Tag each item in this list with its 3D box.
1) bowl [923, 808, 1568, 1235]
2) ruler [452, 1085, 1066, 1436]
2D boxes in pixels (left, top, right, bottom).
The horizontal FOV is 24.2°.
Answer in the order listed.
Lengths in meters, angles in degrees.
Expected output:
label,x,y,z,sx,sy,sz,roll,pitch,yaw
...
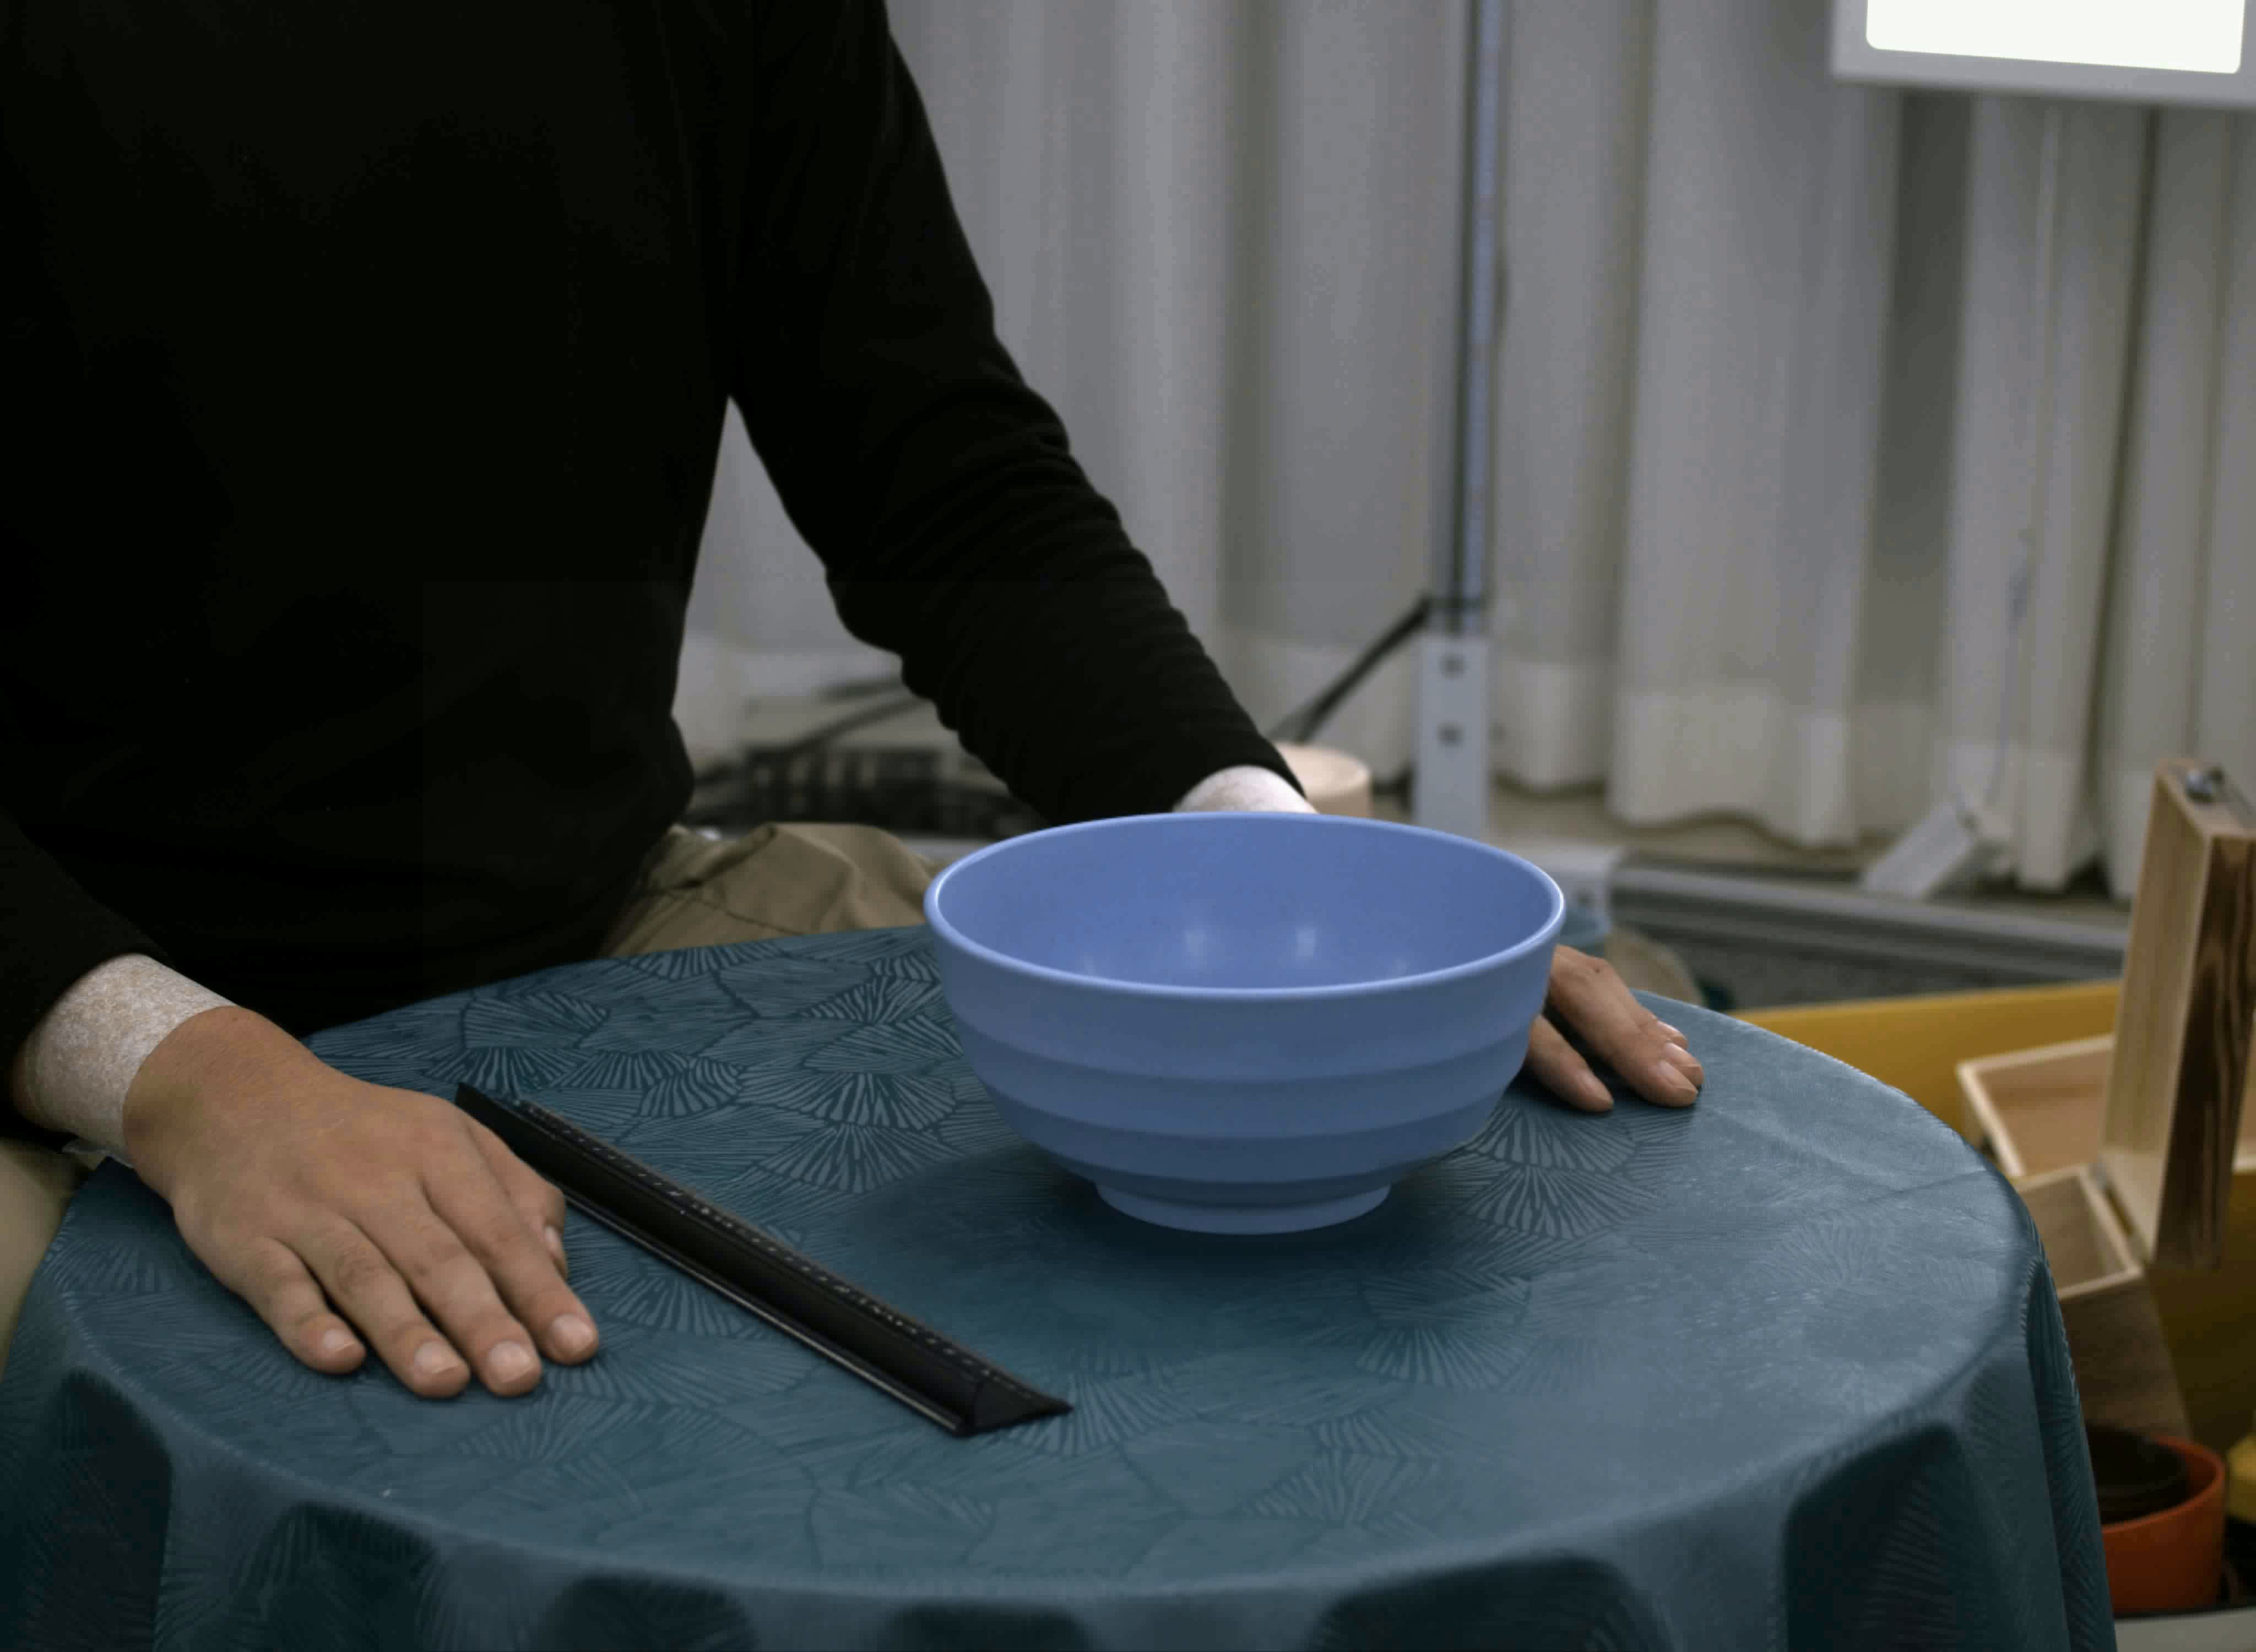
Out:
label,x,y,z,sx,sy,sz,roll,pitch,yaw
bowl,0.035,0.065,1.612,0.196,0.096,0.195,1,16,0
ruler,-0.114,0.122,1.554,0.039,0.017,0.308,-5,16,-33
